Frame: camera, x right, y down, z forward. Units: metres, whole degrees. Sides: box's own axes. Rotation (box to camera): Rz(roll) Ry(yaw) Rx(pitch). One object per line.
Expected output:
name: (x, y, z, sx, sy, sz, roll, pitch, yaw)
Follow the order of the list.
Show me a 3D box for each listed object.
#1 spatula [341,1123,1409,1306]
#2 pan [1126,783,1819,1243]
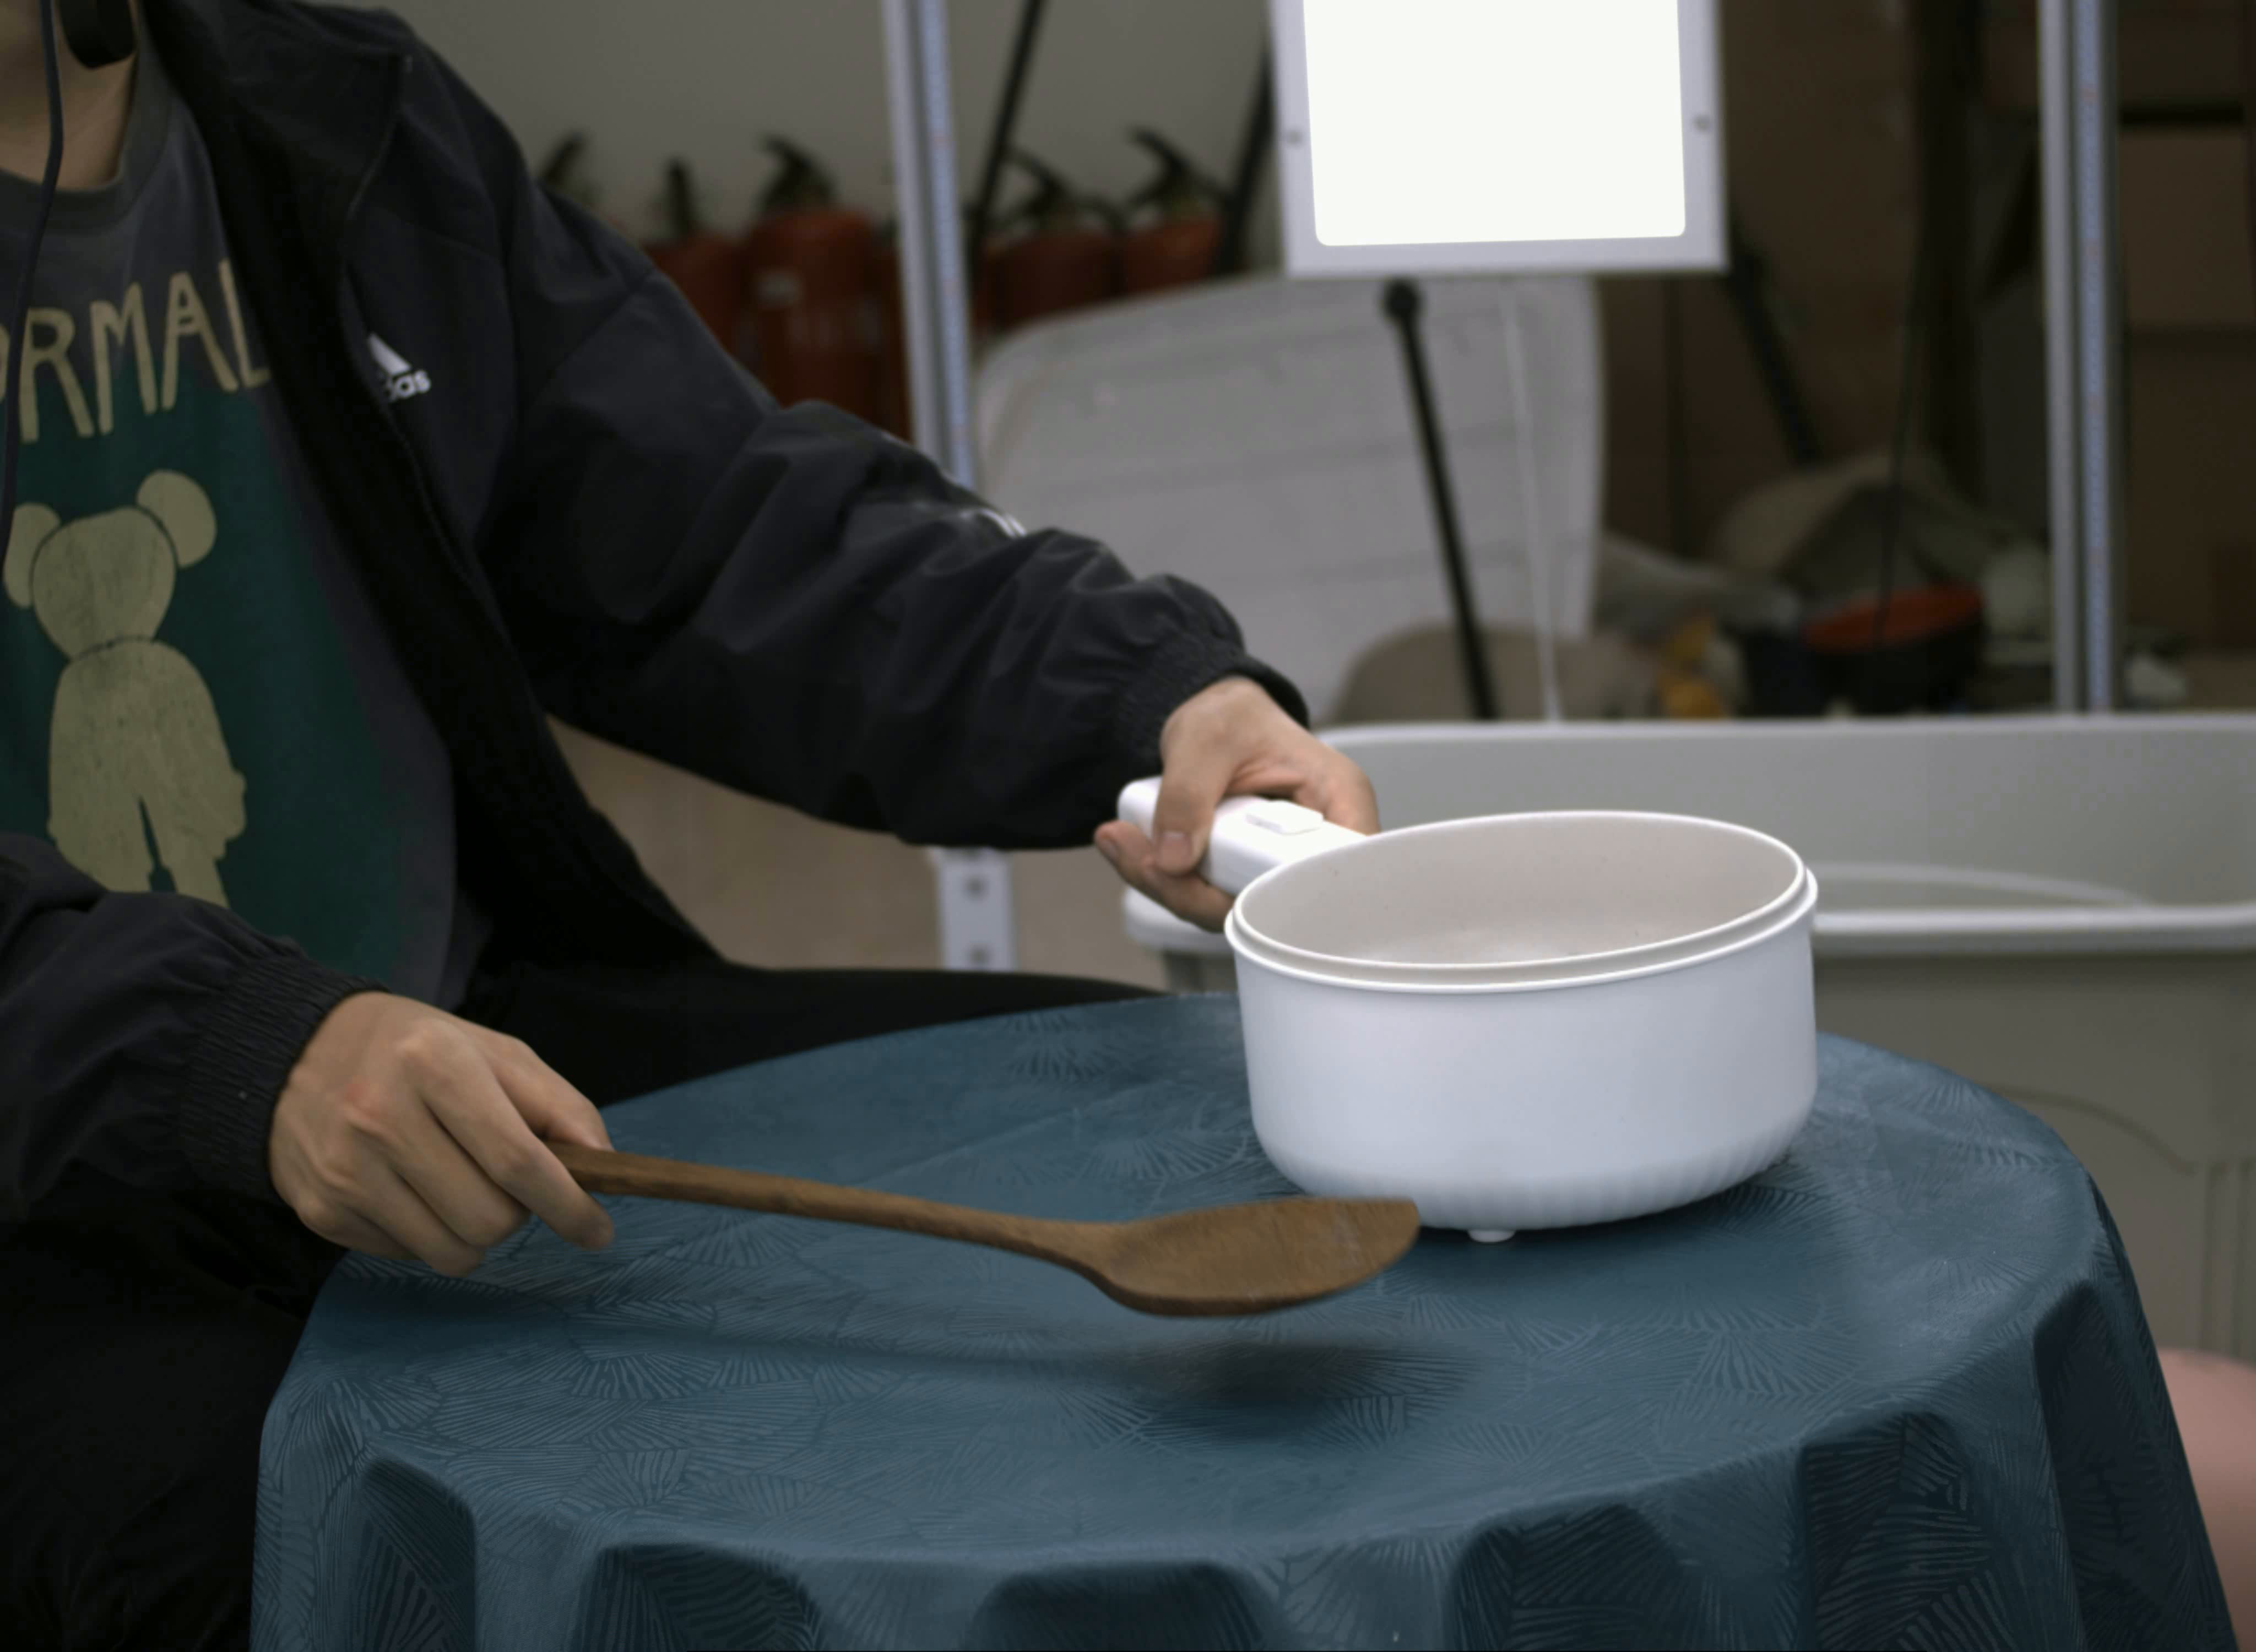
spatula: (-0.093, 0.120, 1.772, 0.393, 0.016, 0.094, 4, 19, 29)
pan: (0.101, 0.058, 1.937, 0.197, 0.102, 0.361, -14, 15, -25)
